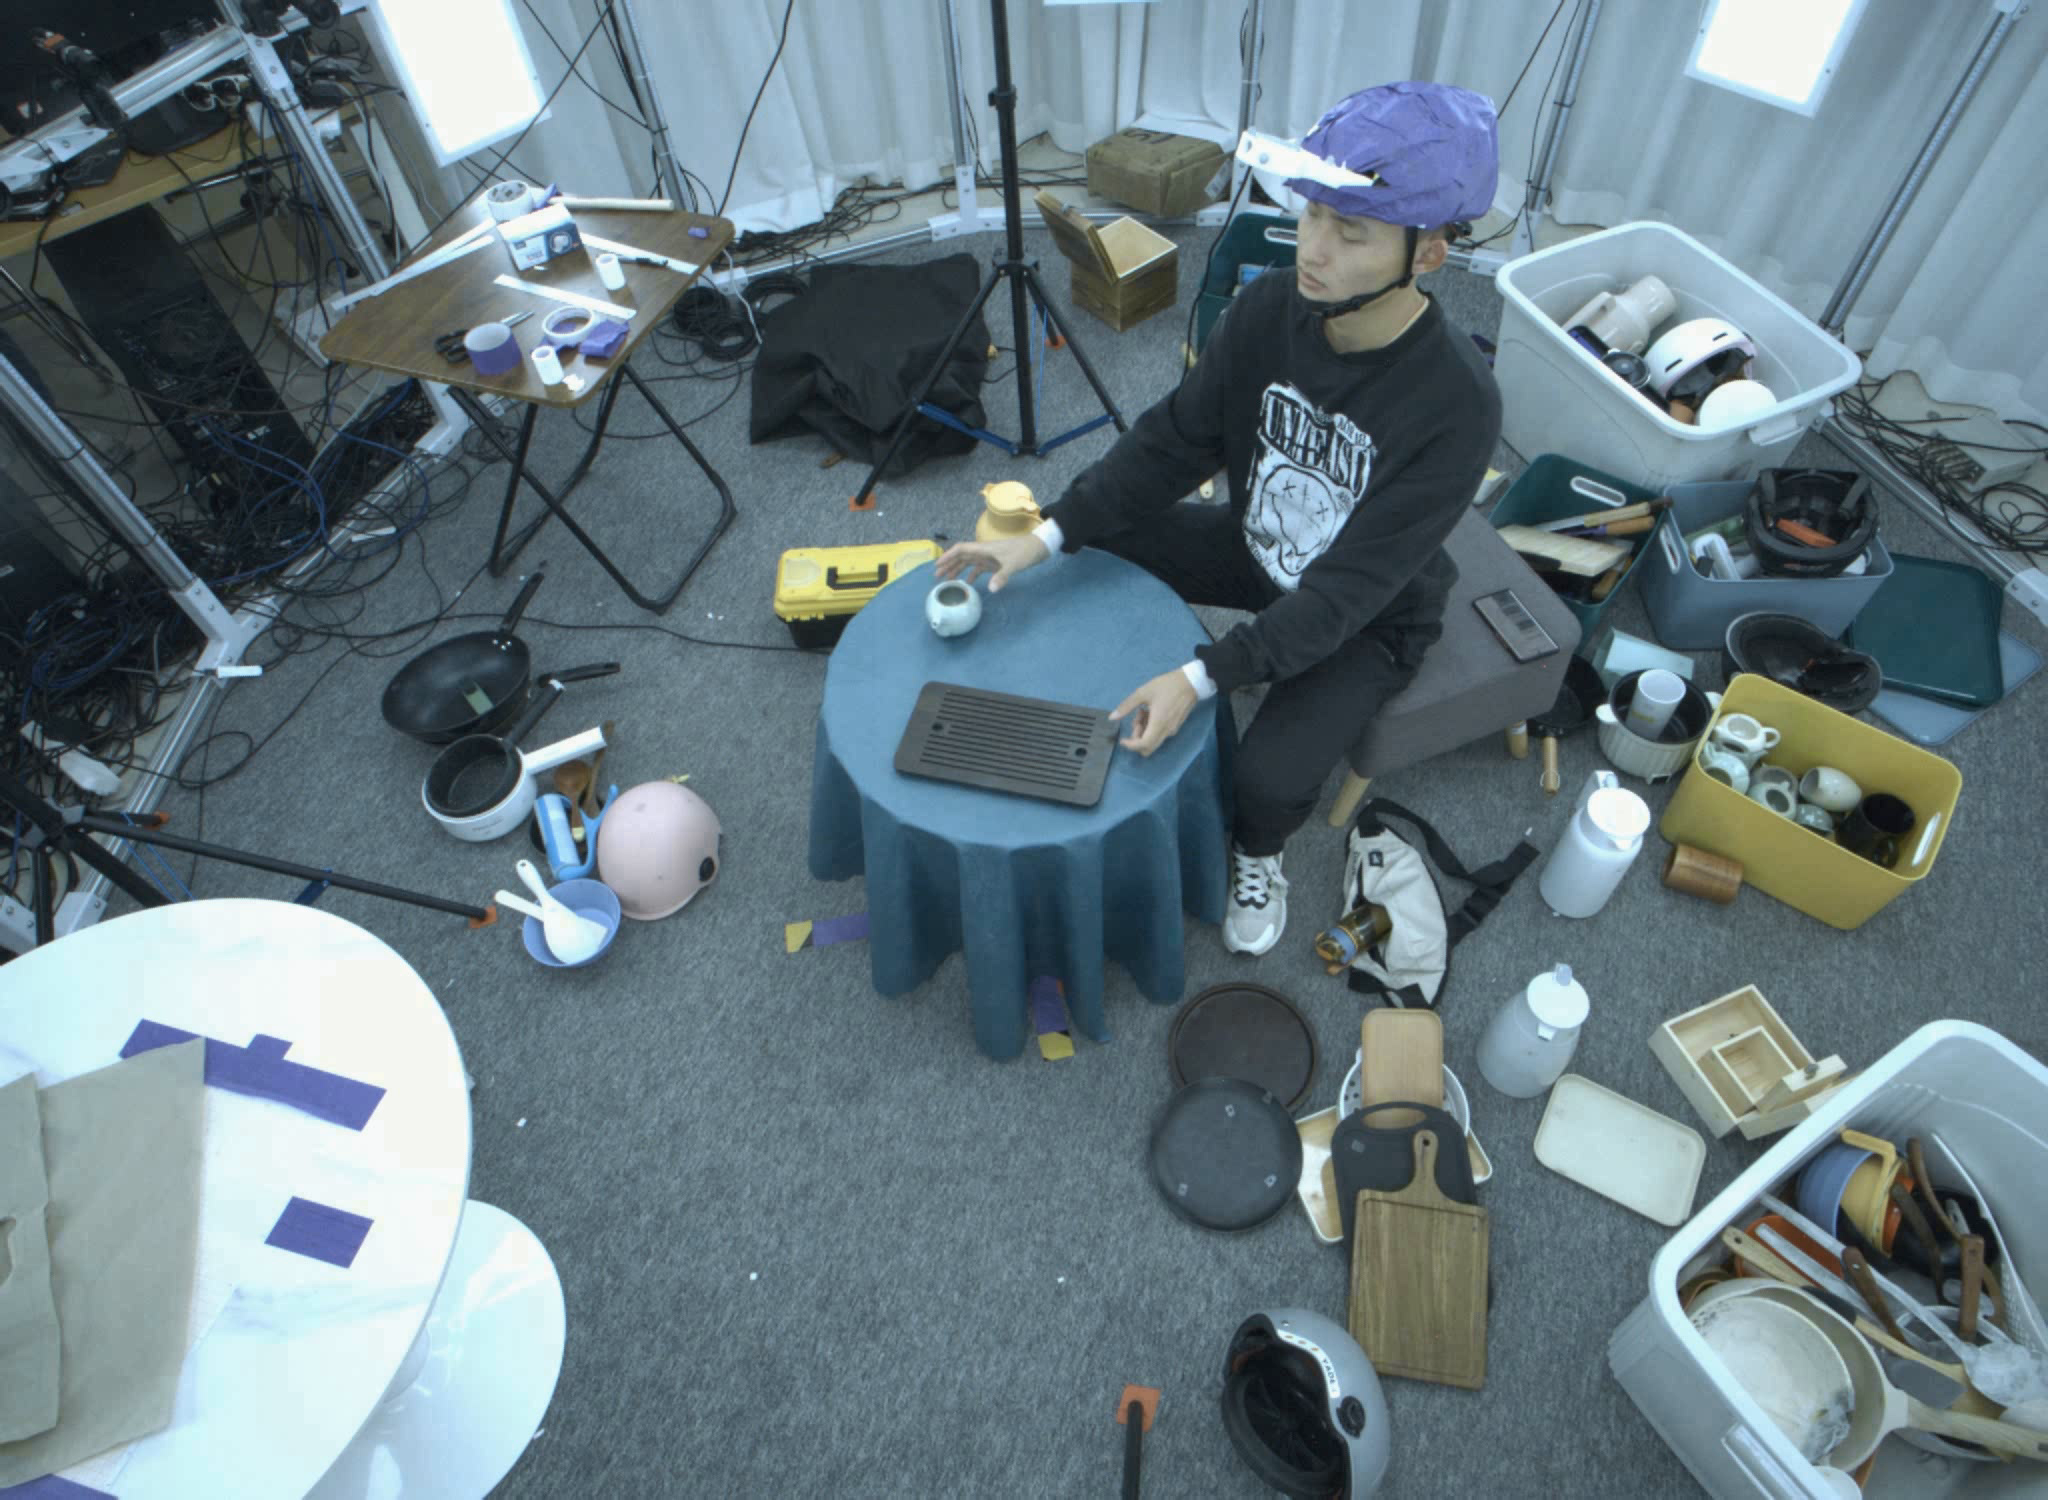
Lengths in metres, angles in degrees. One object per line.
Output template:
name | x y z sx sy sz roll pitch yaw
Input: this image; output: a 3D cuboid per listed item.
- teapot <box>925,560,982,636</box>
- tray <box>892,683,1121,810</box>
teapot | -0.110 -0.222 1.900 0.087 0.075 0.143 17 58 14
tray | -0.024 -0.006 1.777 0.304 0.019 0.169 11 55 9
